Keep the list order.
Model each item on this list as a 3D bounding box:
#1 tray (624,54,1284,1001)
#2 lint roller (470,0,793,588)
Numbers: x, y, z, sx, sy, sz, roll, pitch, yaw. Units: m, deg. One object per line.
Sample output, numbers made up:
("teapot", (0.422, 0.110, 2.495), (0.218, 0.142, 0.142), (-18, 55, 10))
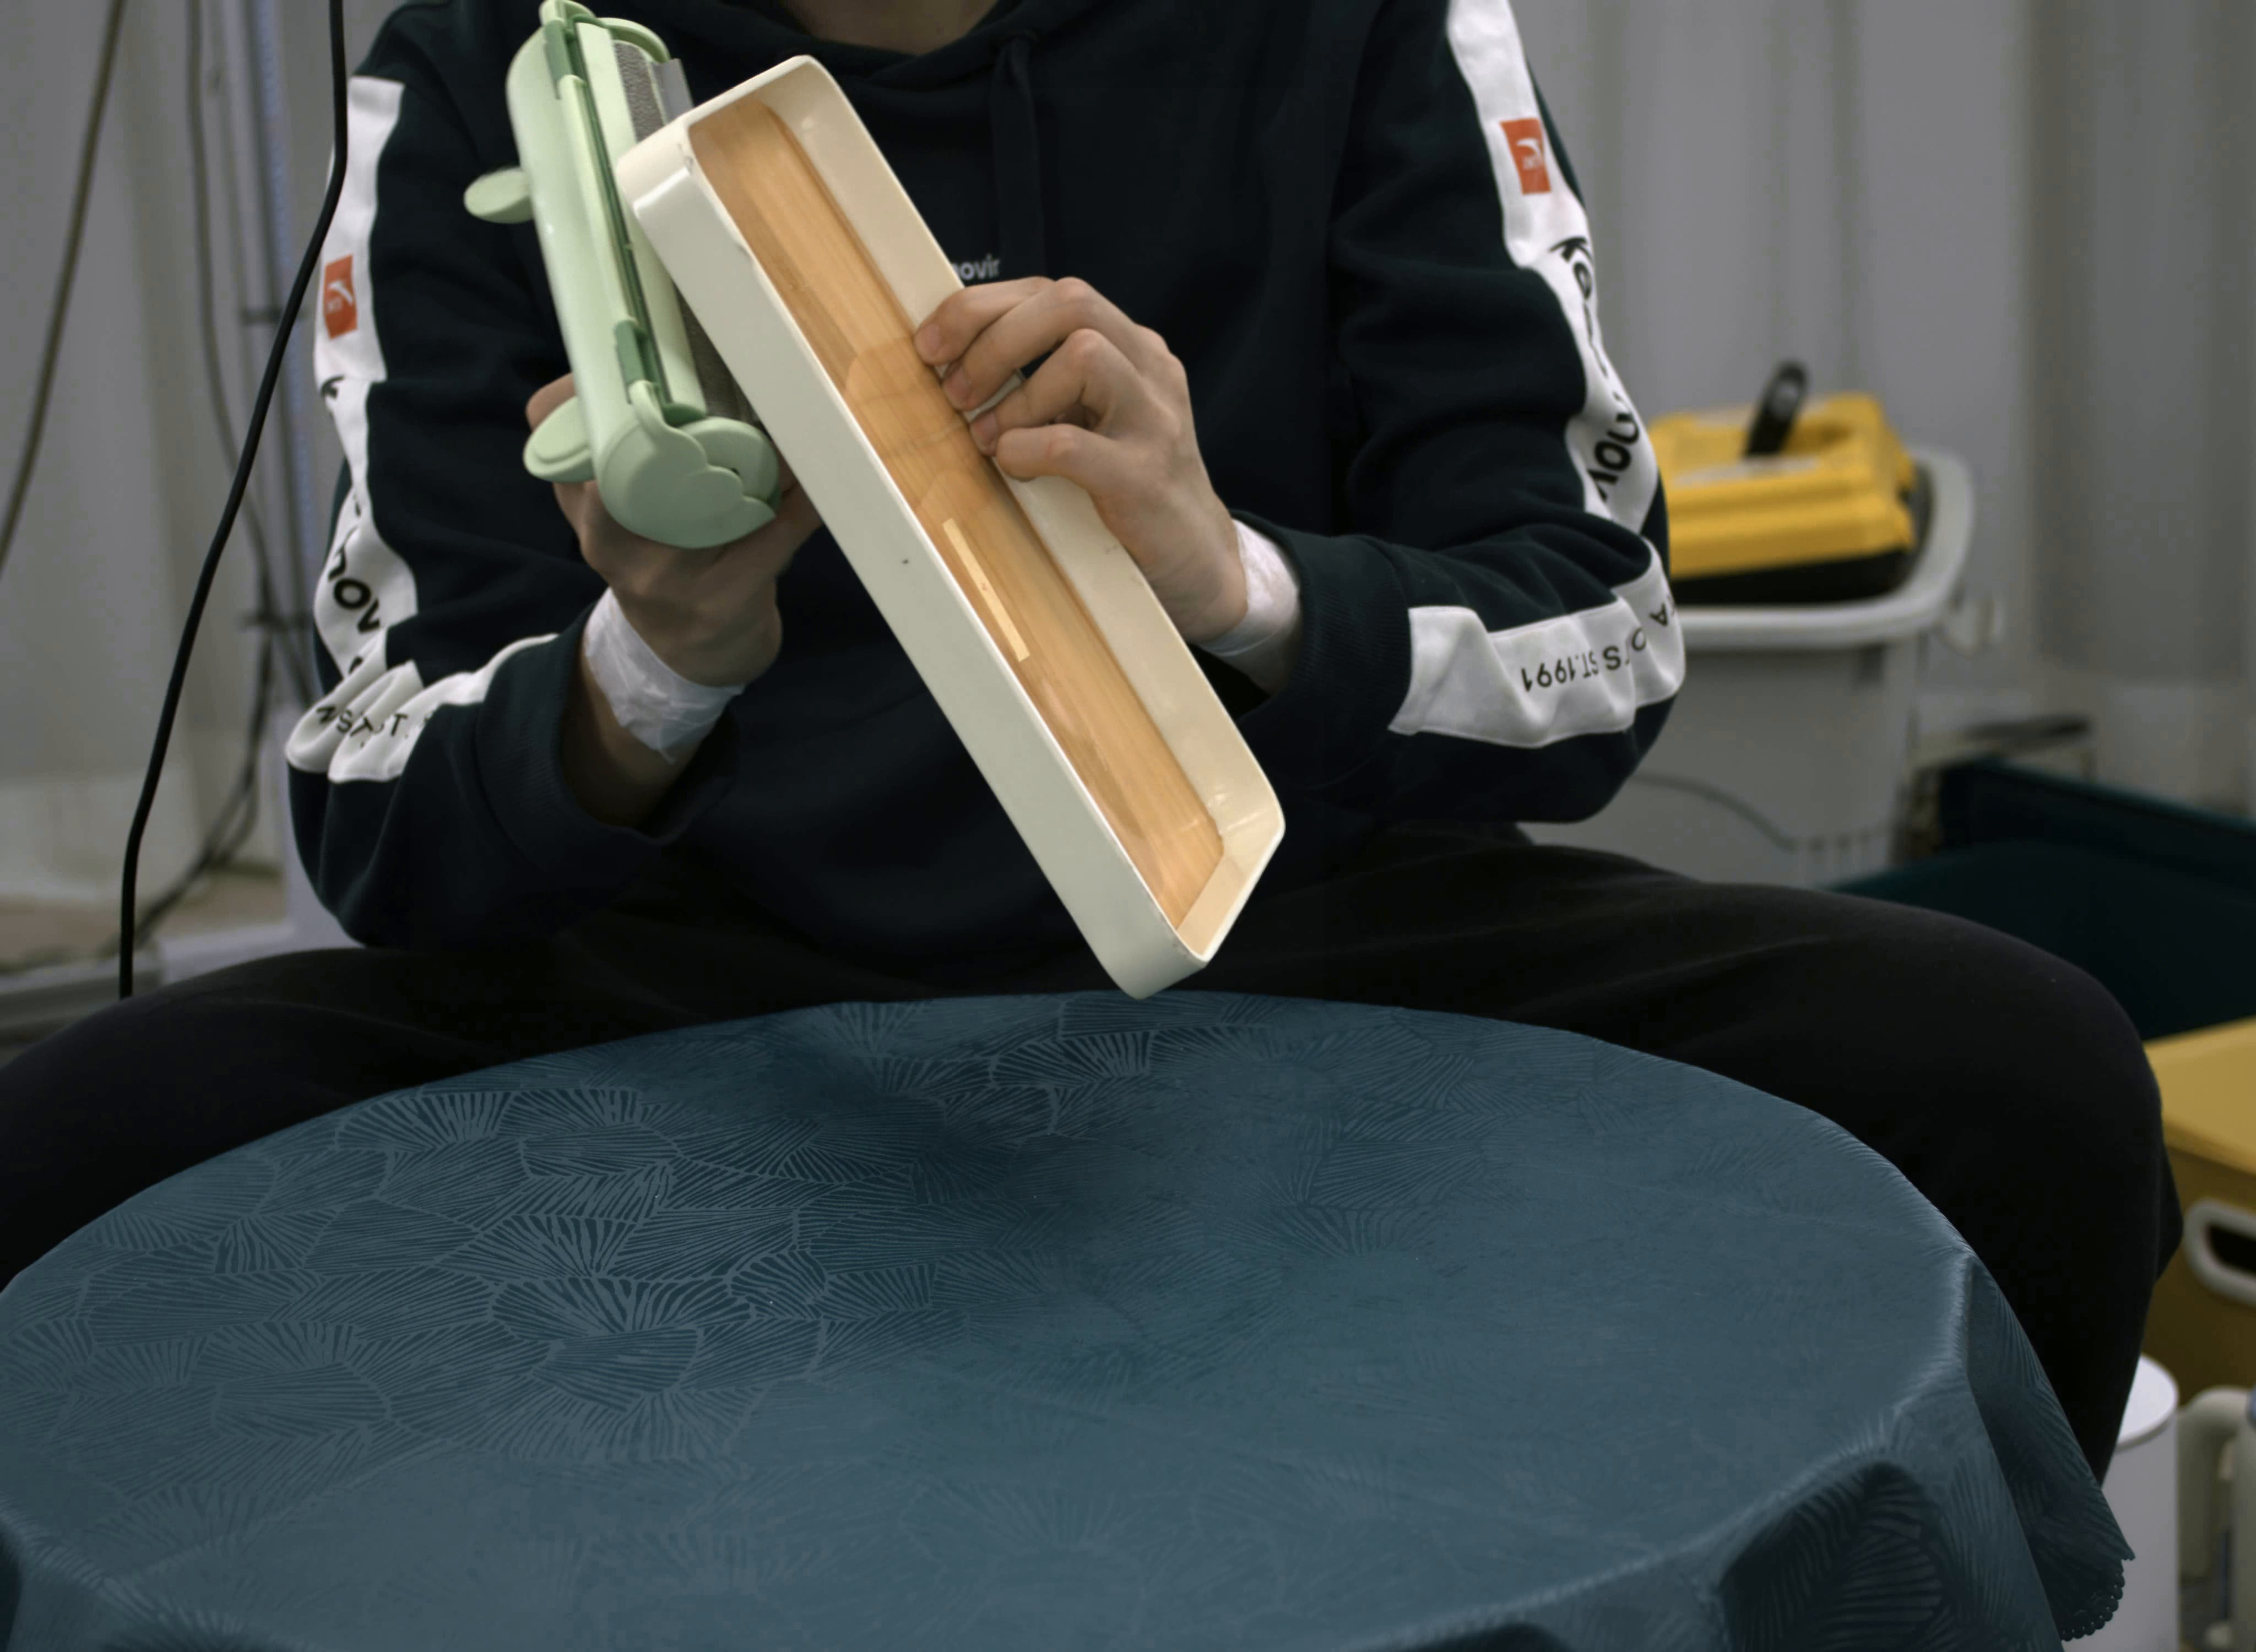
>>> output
("tray", (-0.049, -0.097, 1.710), (0.027, 0.300, 0.192), (-30, 6, 16))
("lint roller", (-0.153, -0.134, 1.730), (0.082, 0.181, 0.202), (-12, 50, -7))
